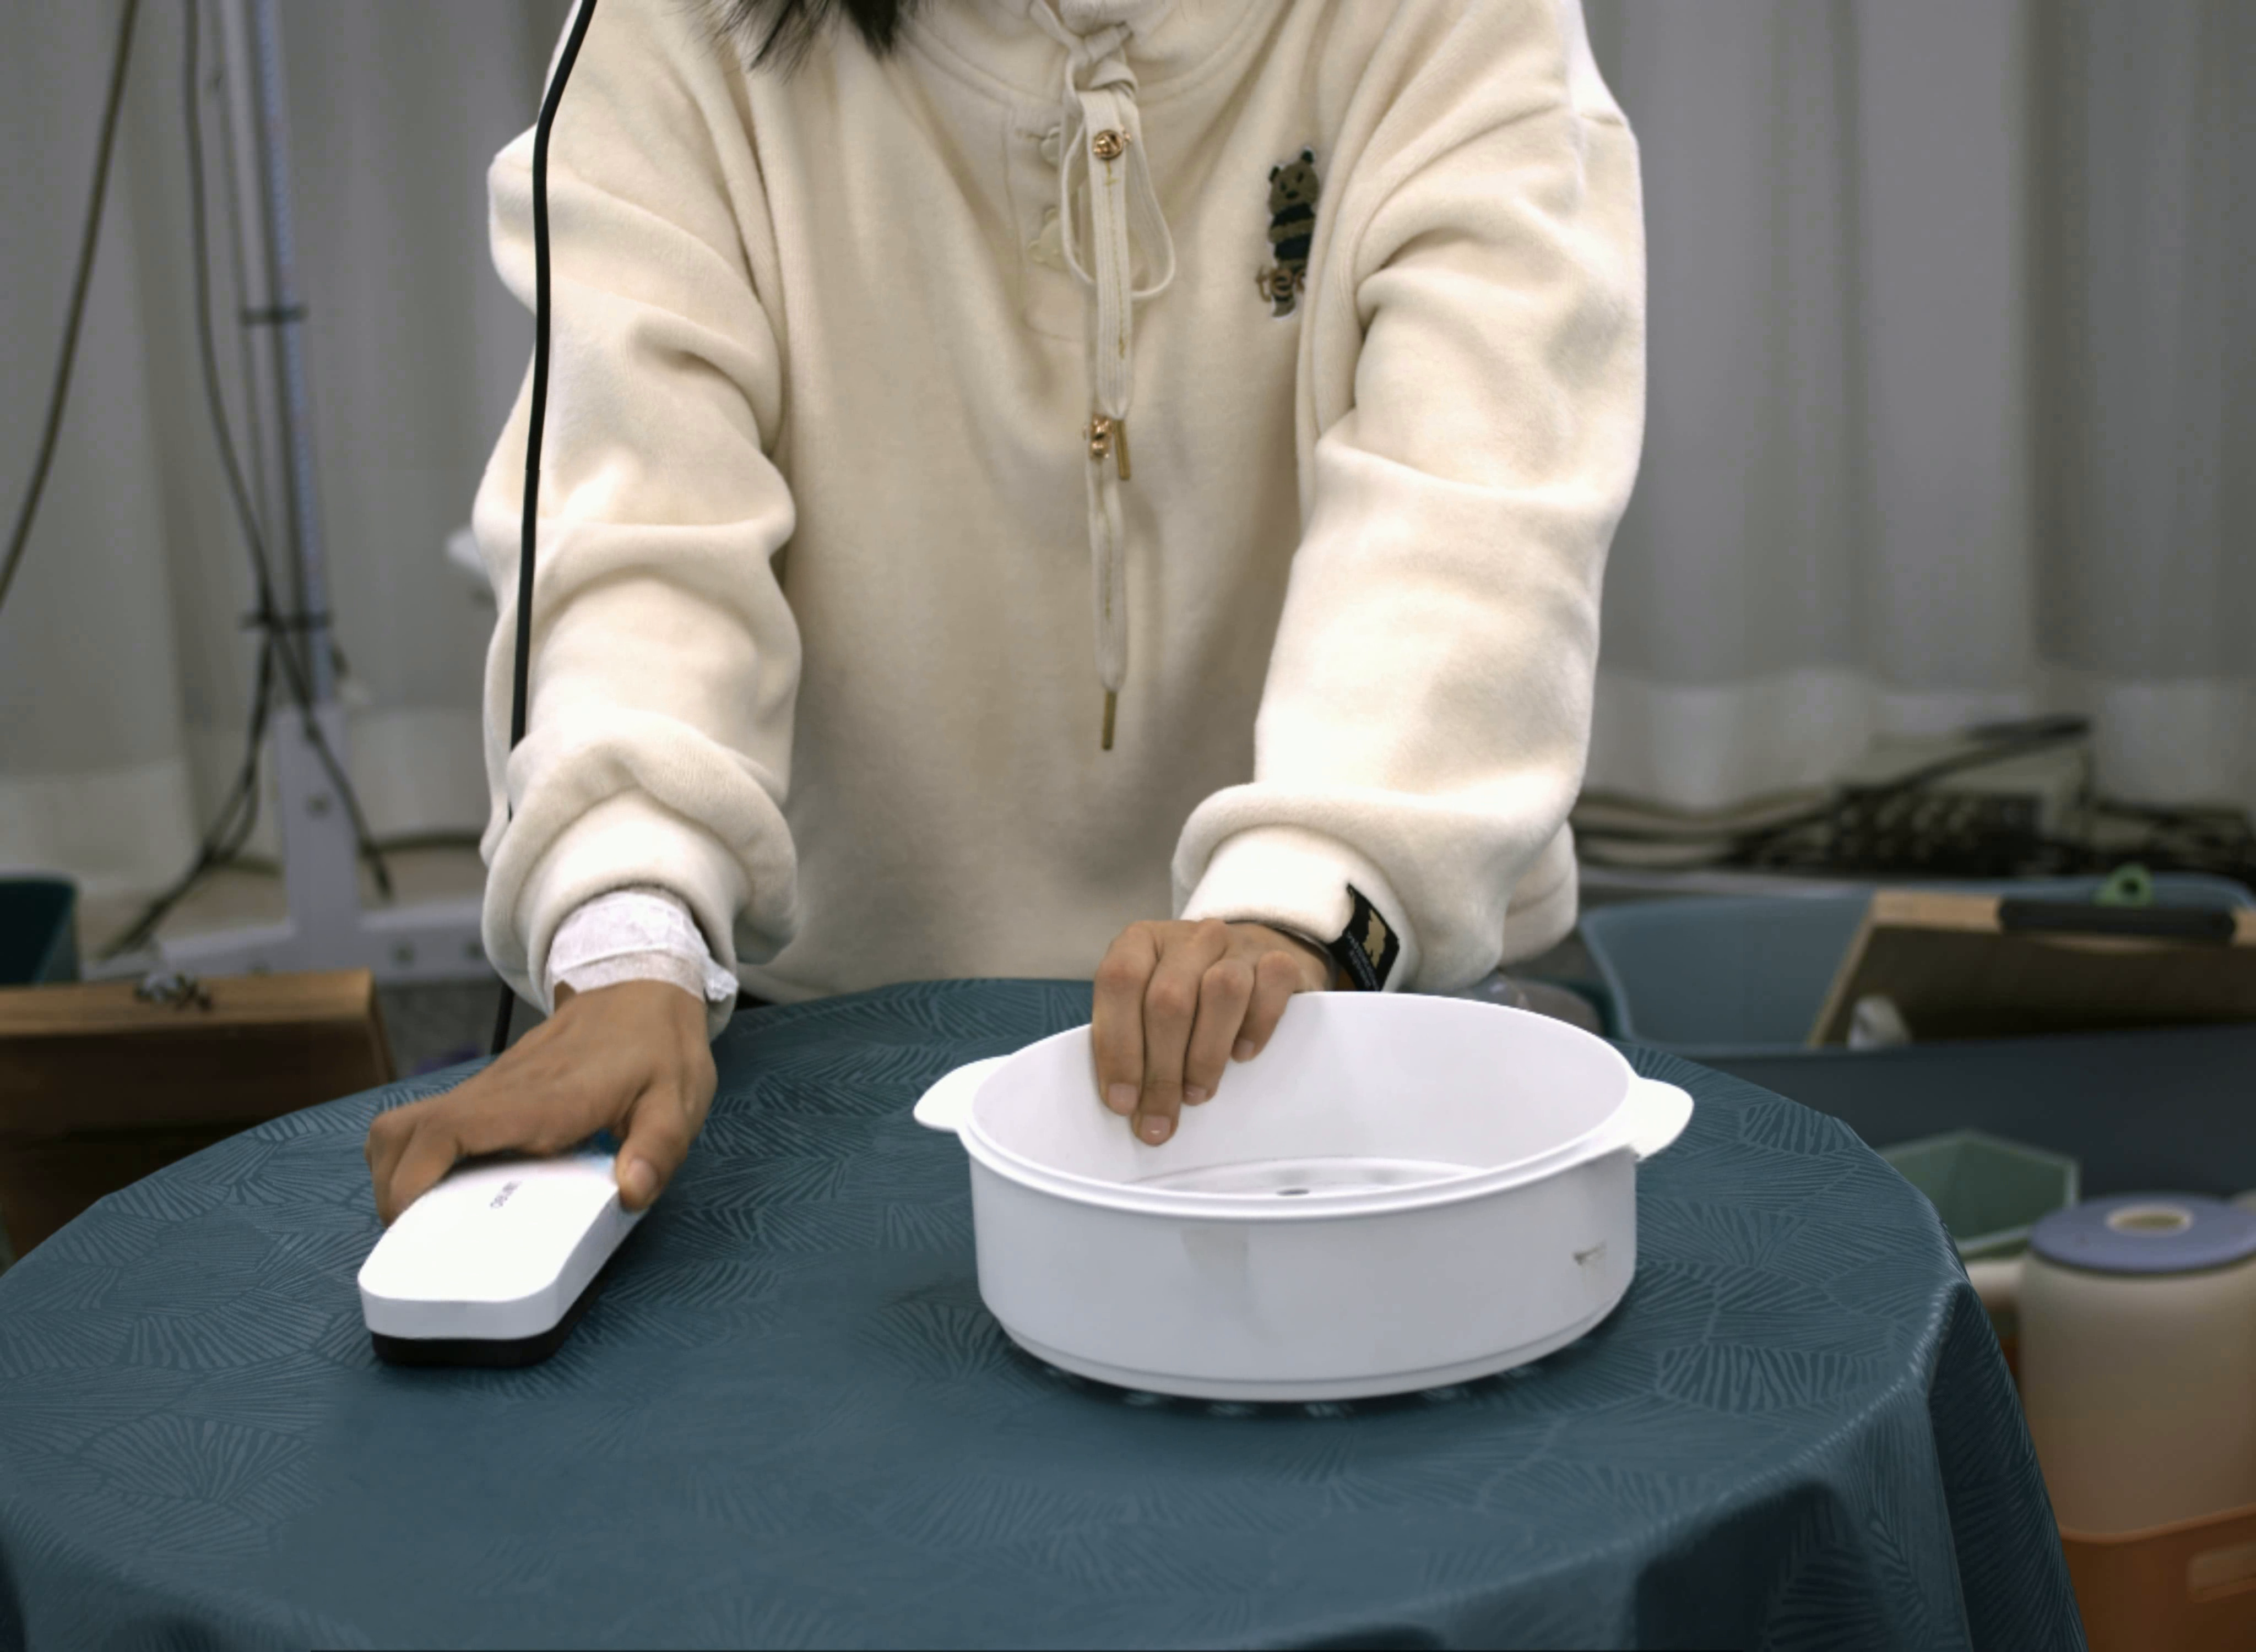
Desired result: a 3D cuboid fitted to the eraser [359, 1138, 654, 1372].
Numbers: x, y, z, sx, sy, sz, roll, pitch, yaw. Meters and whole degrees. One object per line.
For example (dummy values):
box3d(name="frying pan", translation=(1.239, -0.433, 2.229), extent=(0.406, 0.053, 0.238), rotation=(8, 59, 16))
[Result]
box3d(name="eraser", translation=(-0.184, 0.125, 1.644), extent=(0.063, 0.034, 0.132), rotation=(1, 18, 12))

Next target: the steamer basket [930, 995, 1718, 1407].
box3d(name="steamer basket", translation=(0.056, 0.109, 1.595), extent=(0.230, 0.069, 0.202), rotation=(3, 15, 16))
